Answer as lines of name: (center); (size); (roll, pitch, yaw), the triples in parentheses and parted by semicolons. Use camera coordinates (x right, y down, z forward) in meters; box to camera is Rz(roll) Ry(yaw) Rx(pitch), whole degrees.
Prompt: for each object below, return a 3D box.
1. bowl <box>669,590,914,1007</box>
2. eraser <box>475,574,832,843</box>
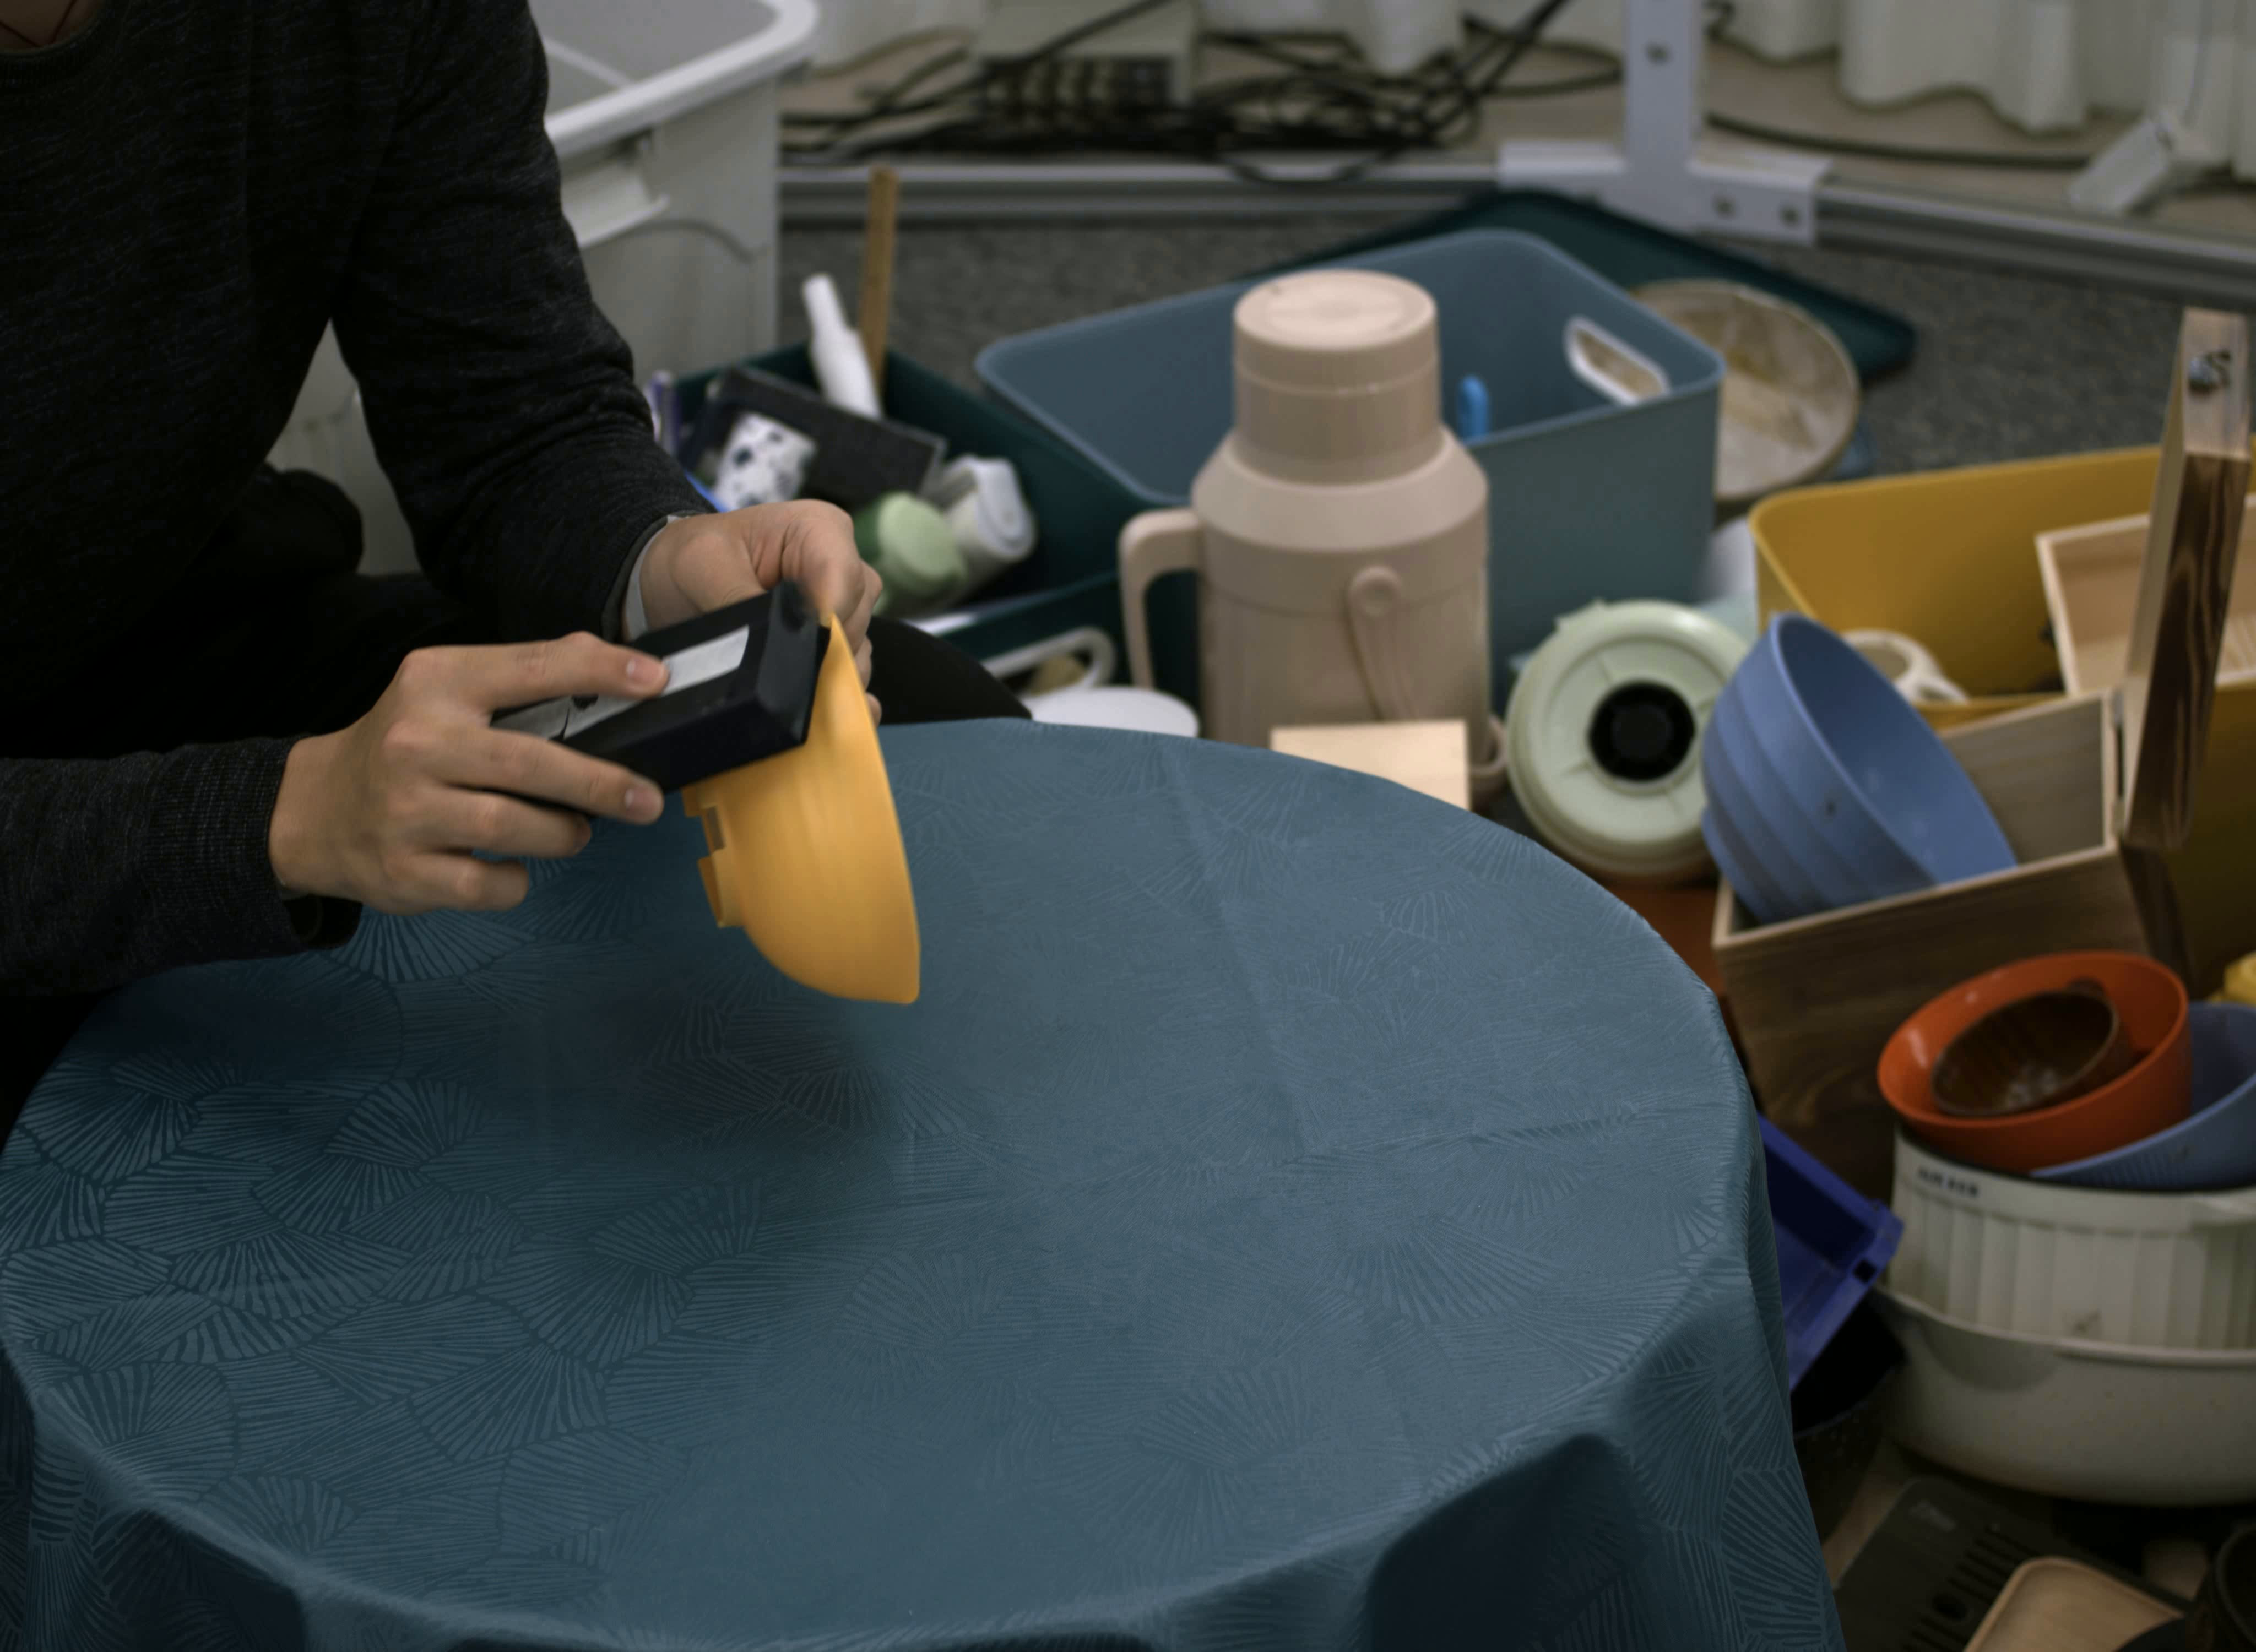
bowl: (-0.119, -0.003, 1.888); (0.060, 0.144, 0.147); (-13, 28, -10)
eraser: (-0.155, -0.039, 1.848); (0.124, 0.030, 0.054); (-22, 38, 26)
